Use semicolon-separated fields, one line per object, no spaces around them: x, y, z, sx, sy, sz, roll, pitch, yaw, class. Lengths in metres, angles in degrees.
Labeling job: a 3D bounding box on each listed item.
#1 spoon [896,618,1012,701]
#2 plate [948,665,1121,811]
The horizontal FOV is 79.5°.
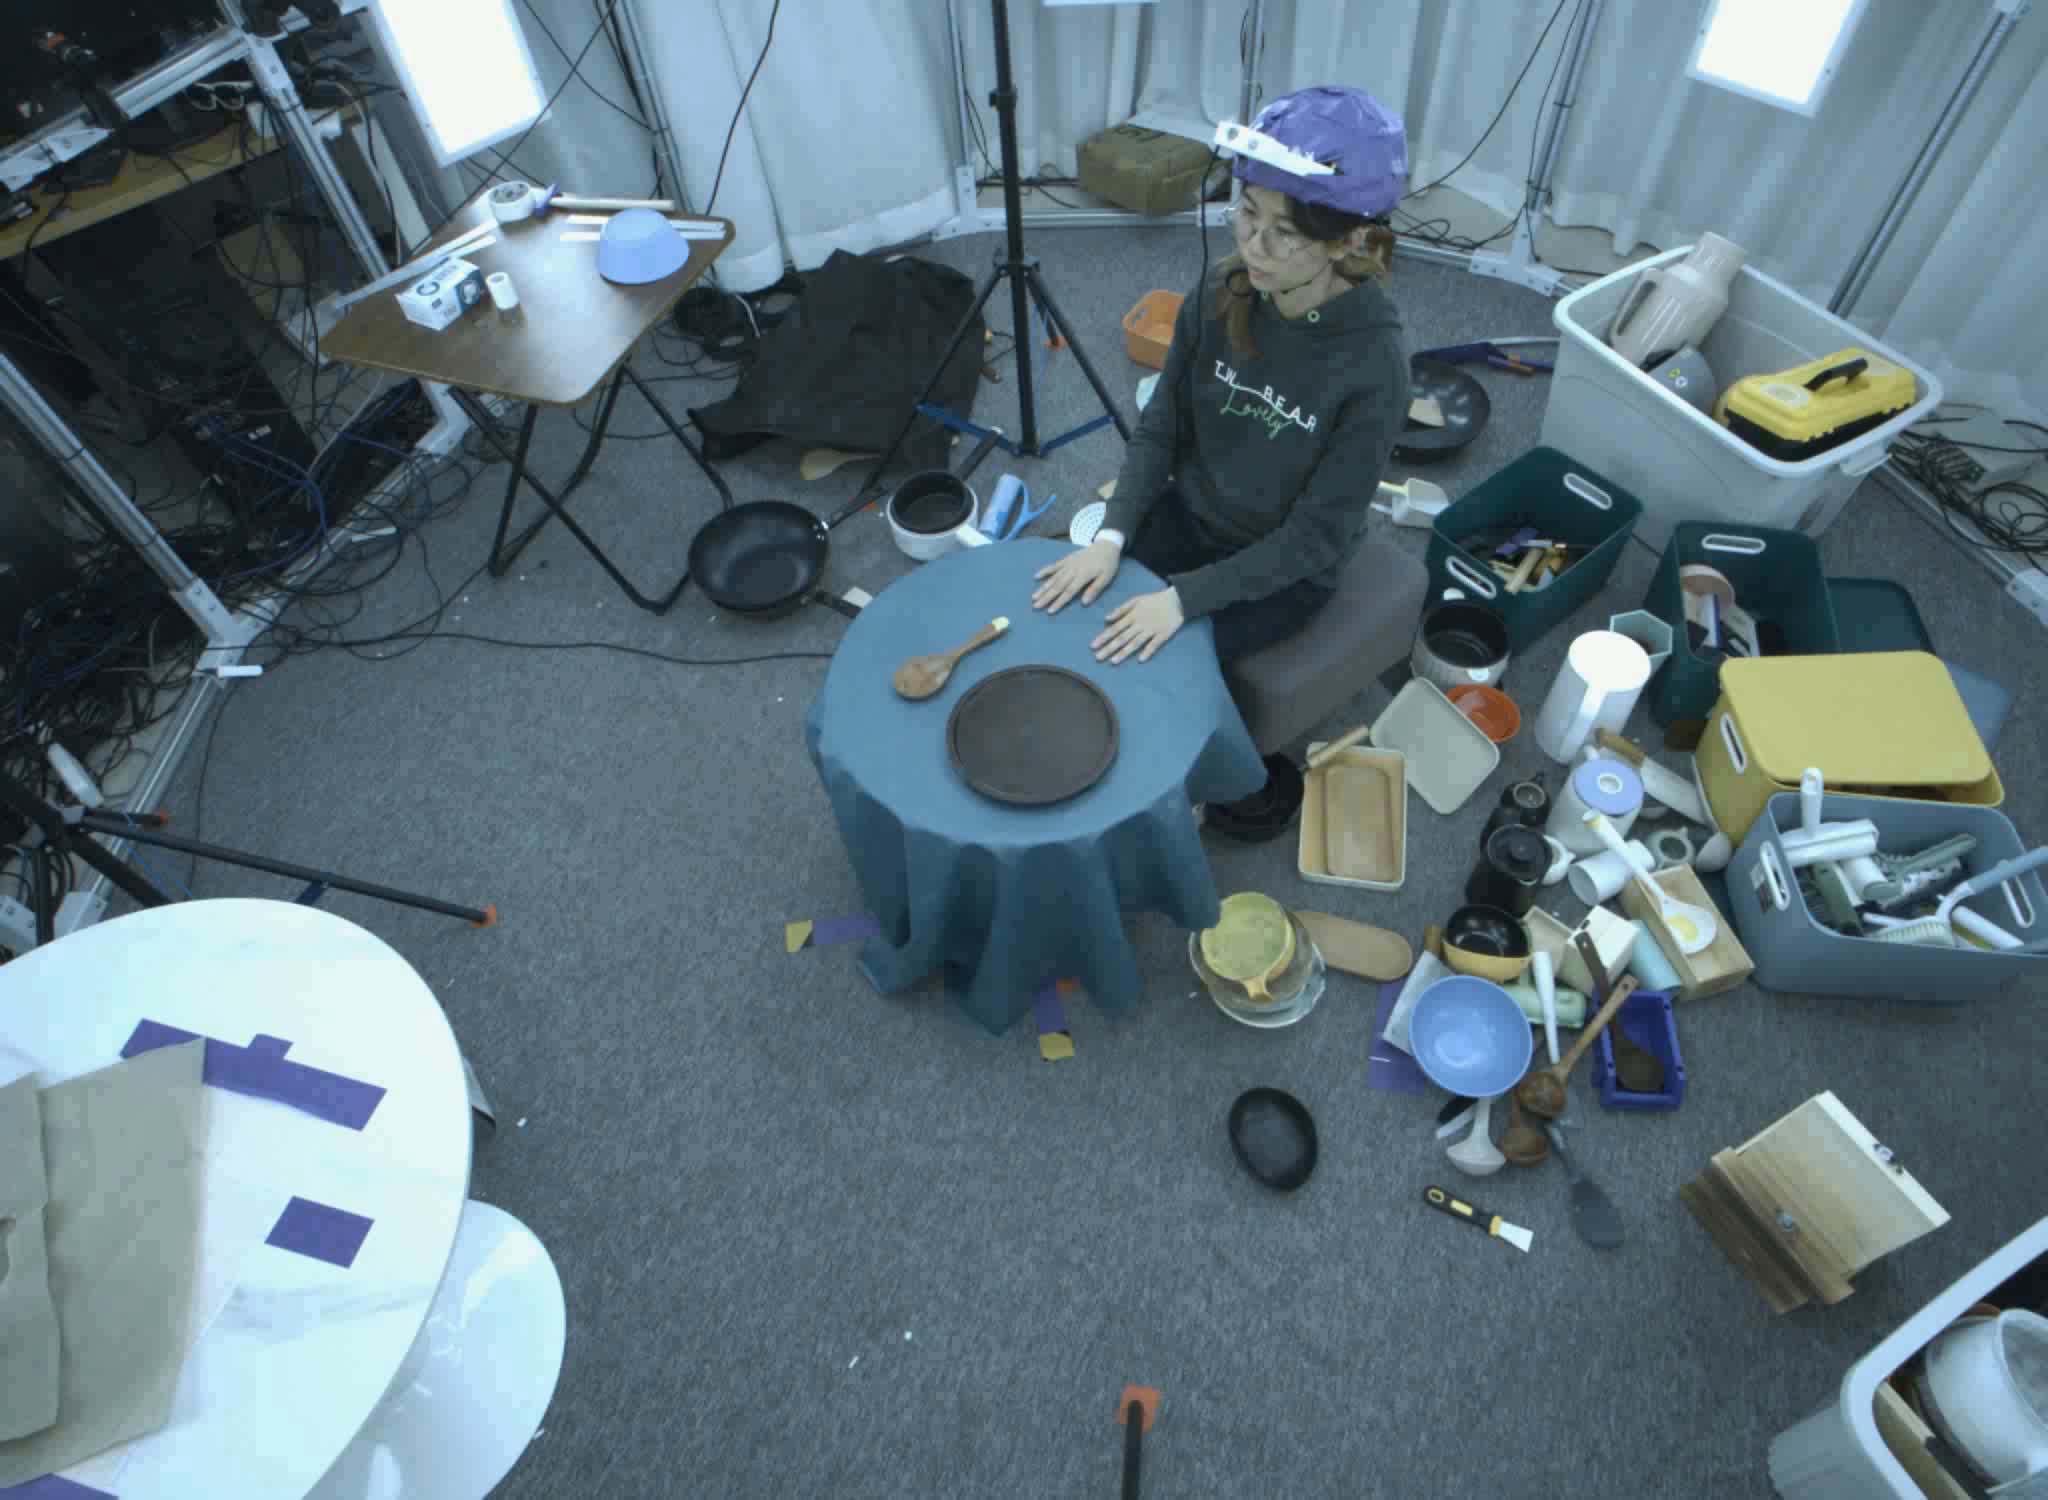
-0.105;-0.140;1.889;0.217;0.017;0.074;-37;62;-21;spoon
0.015;-0.018;1.796;0.254;0.029;0.252;0;56;2;plate
